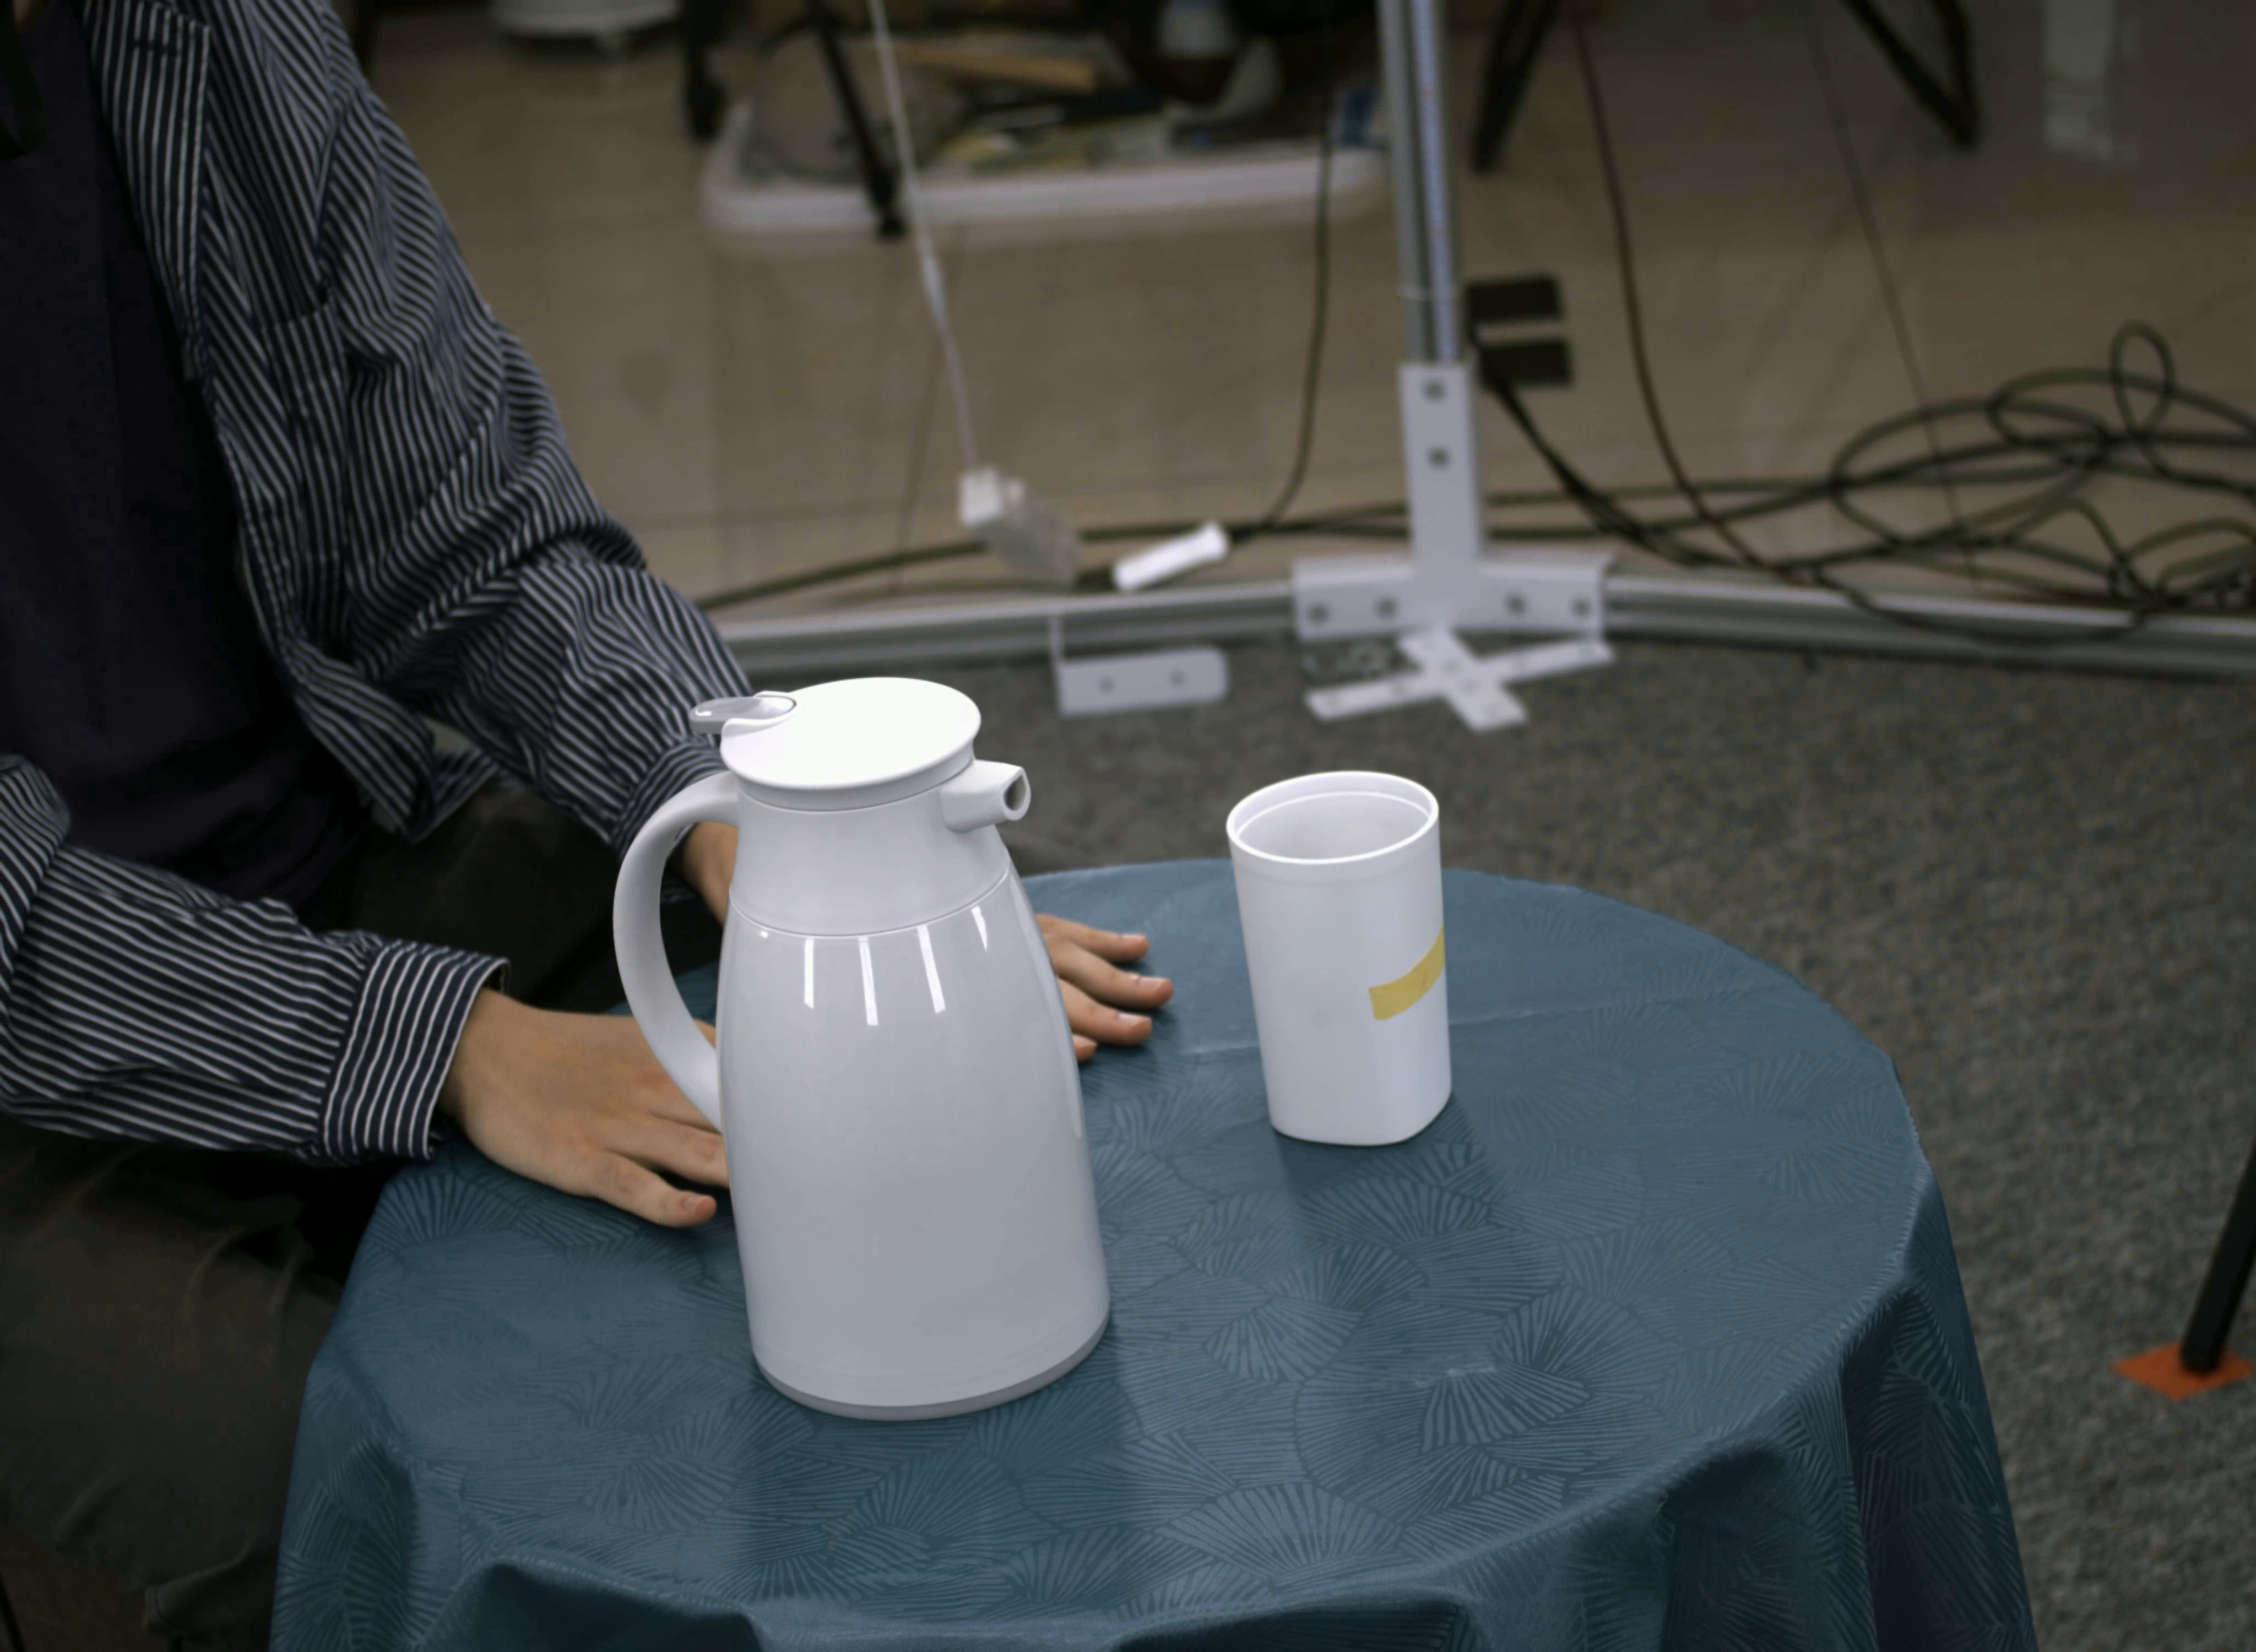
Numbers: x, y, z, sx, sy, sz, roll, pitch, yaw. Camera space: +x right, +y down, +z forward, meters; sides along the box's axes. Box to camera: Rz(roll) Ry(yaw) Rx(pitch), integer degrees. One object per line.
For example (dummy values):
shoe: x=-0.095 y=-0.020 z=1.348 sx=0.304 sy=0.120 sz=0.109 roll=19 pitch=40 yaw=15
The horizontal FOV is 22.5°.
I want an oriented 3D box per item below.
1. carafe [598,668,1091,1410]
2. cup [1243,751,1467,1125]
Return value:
carafe: x=-0.106 y=0.068 z=2.021 sx=0.167 sy=0.253 sz=0.130 roll=4 pitch=30 yaw=17
cup: x=0.091 y=0.044 z=2.174 sx=0.081 sy=0.127 sz=0.080 roll=-6 pitch=27 yaw=3
